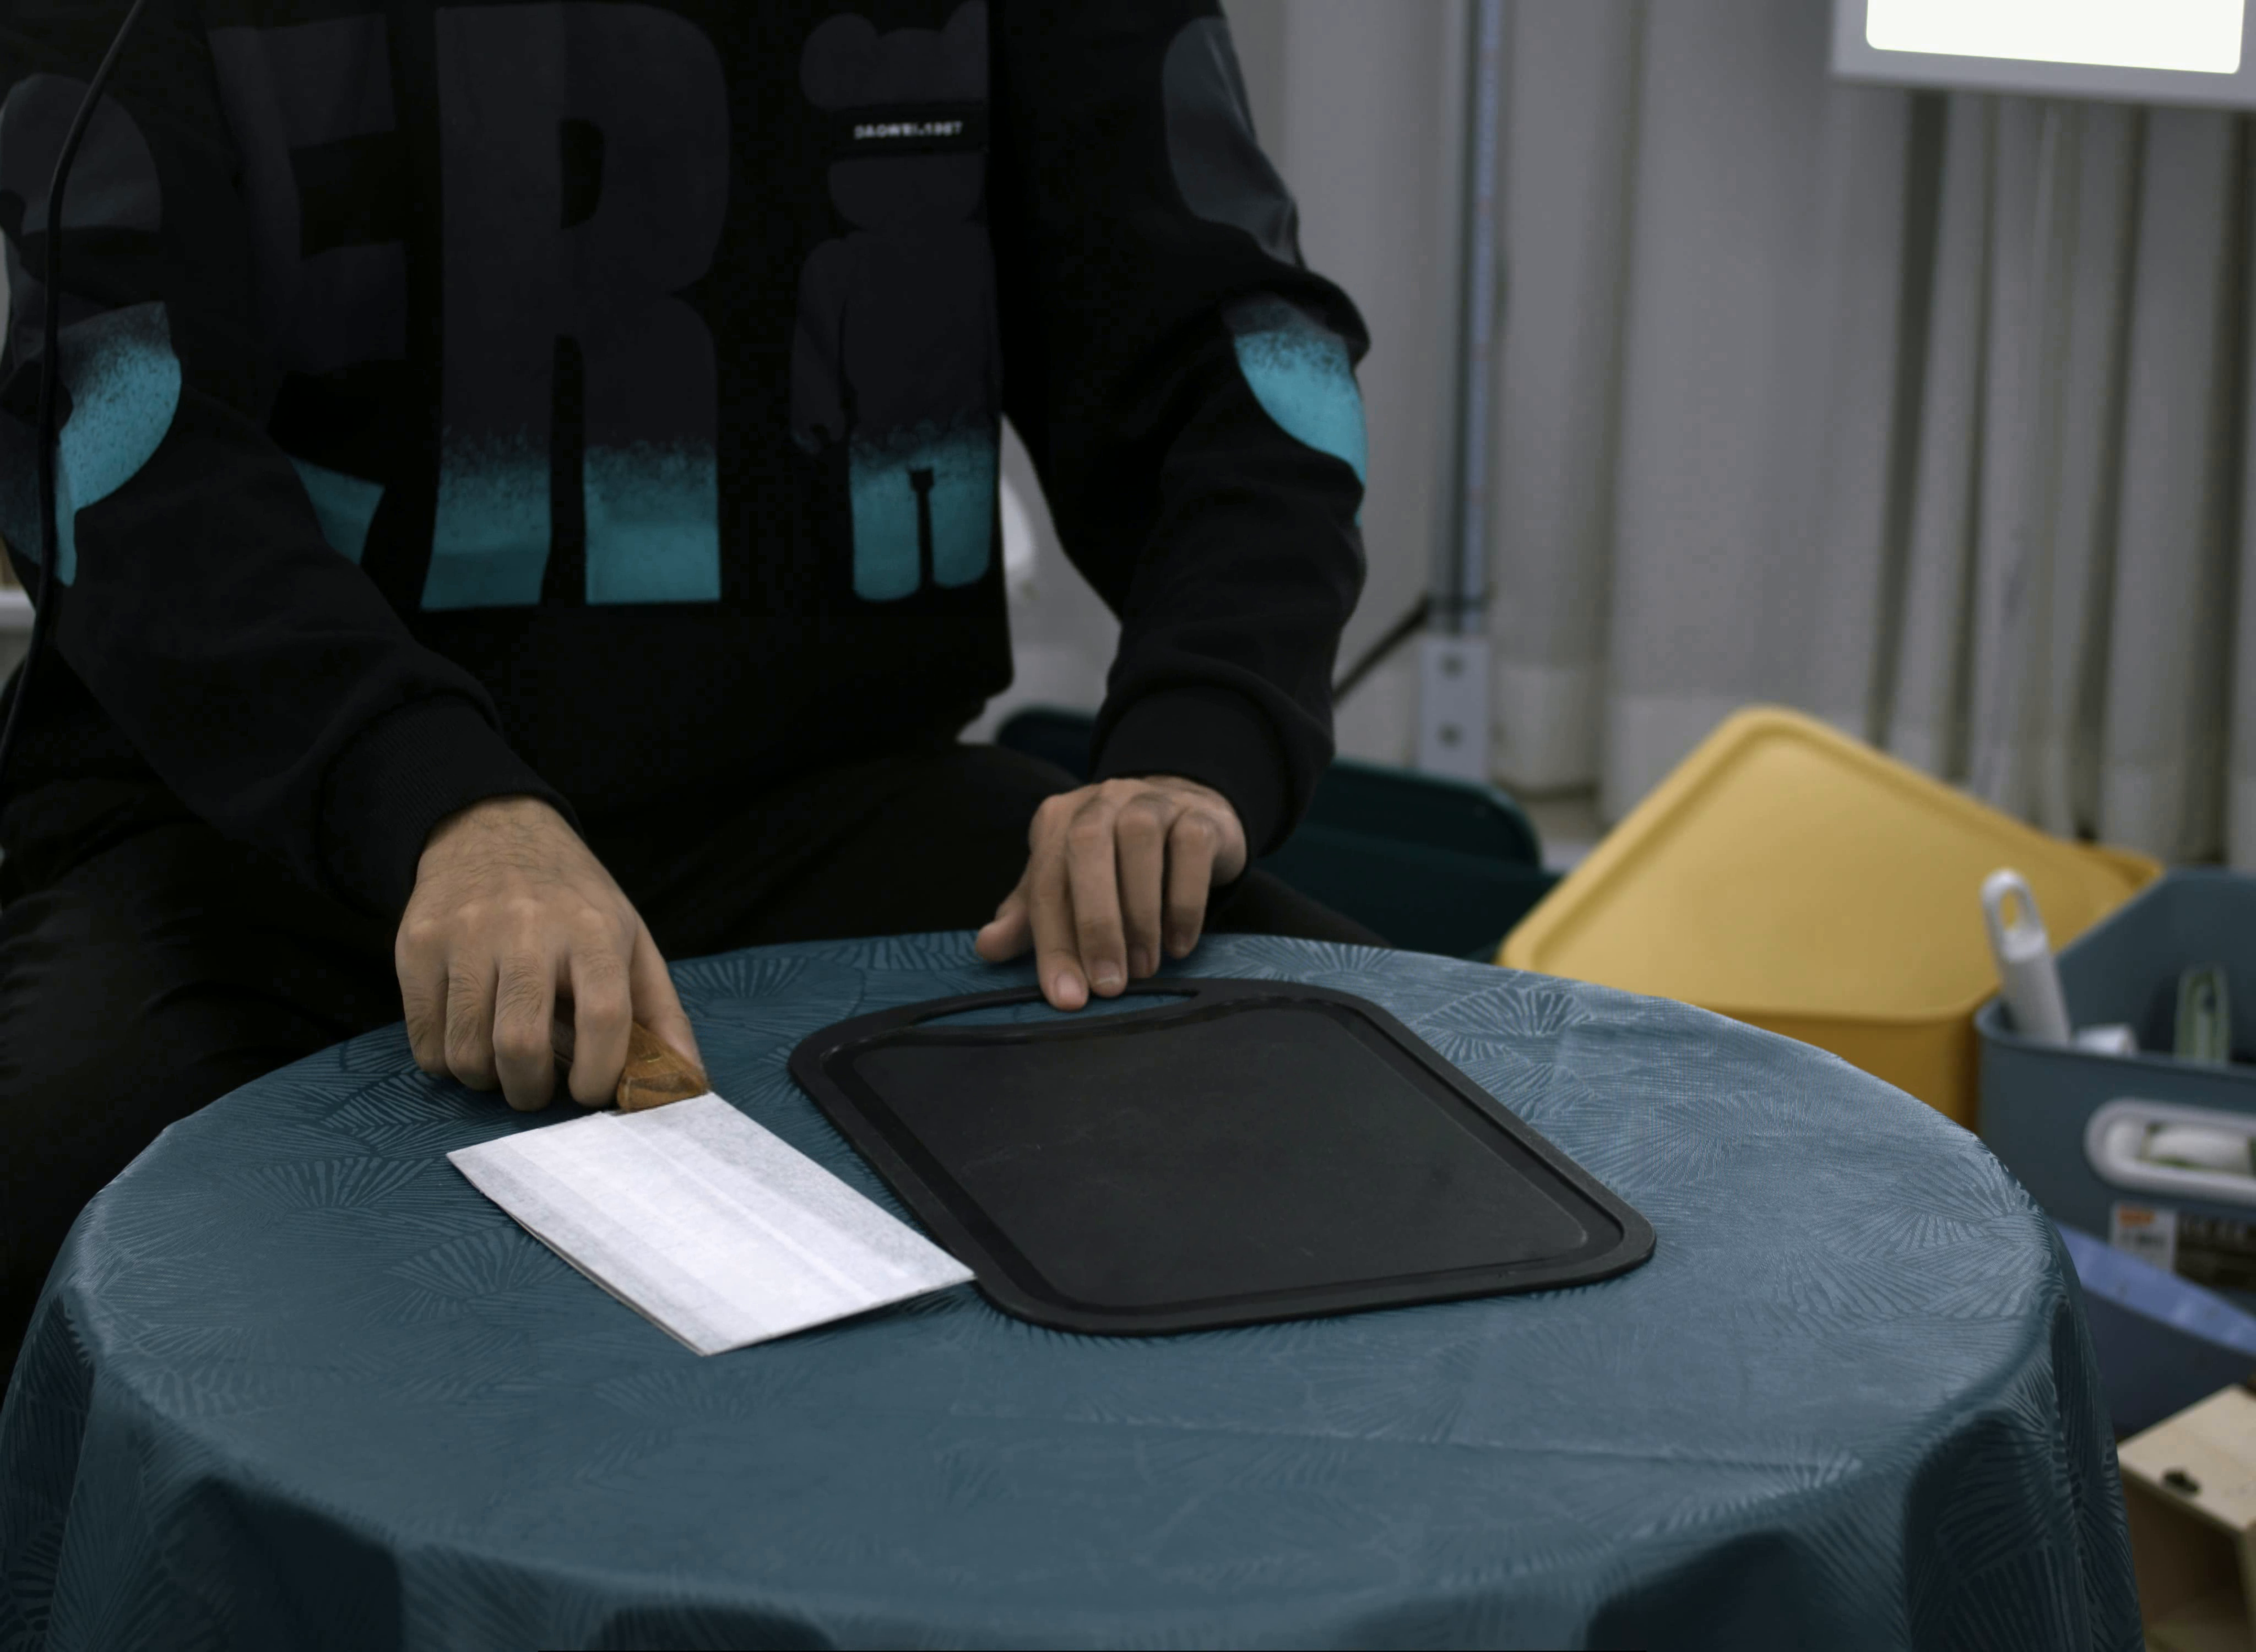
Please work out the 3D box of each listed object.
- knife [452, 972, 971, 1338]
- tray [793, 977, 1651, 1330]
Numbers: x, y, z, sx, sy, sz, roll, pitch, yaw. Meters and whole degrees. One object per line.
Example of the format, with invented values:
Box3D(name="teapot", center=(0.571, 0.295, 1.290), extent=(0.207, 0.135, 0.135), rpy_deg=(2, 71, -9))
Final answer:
Box3D(name="knife", center=(-0.154, 0.102, 1.630), extent=(0.093, 0.021, 0.302), rpy_deg=(-15, 22, -26))
Box3D(name="tray", center=(0.019, 0.096, 1.667), extent=(0.211, 0.010, 0.322), rpy_deg=(-5, 17, -18))
